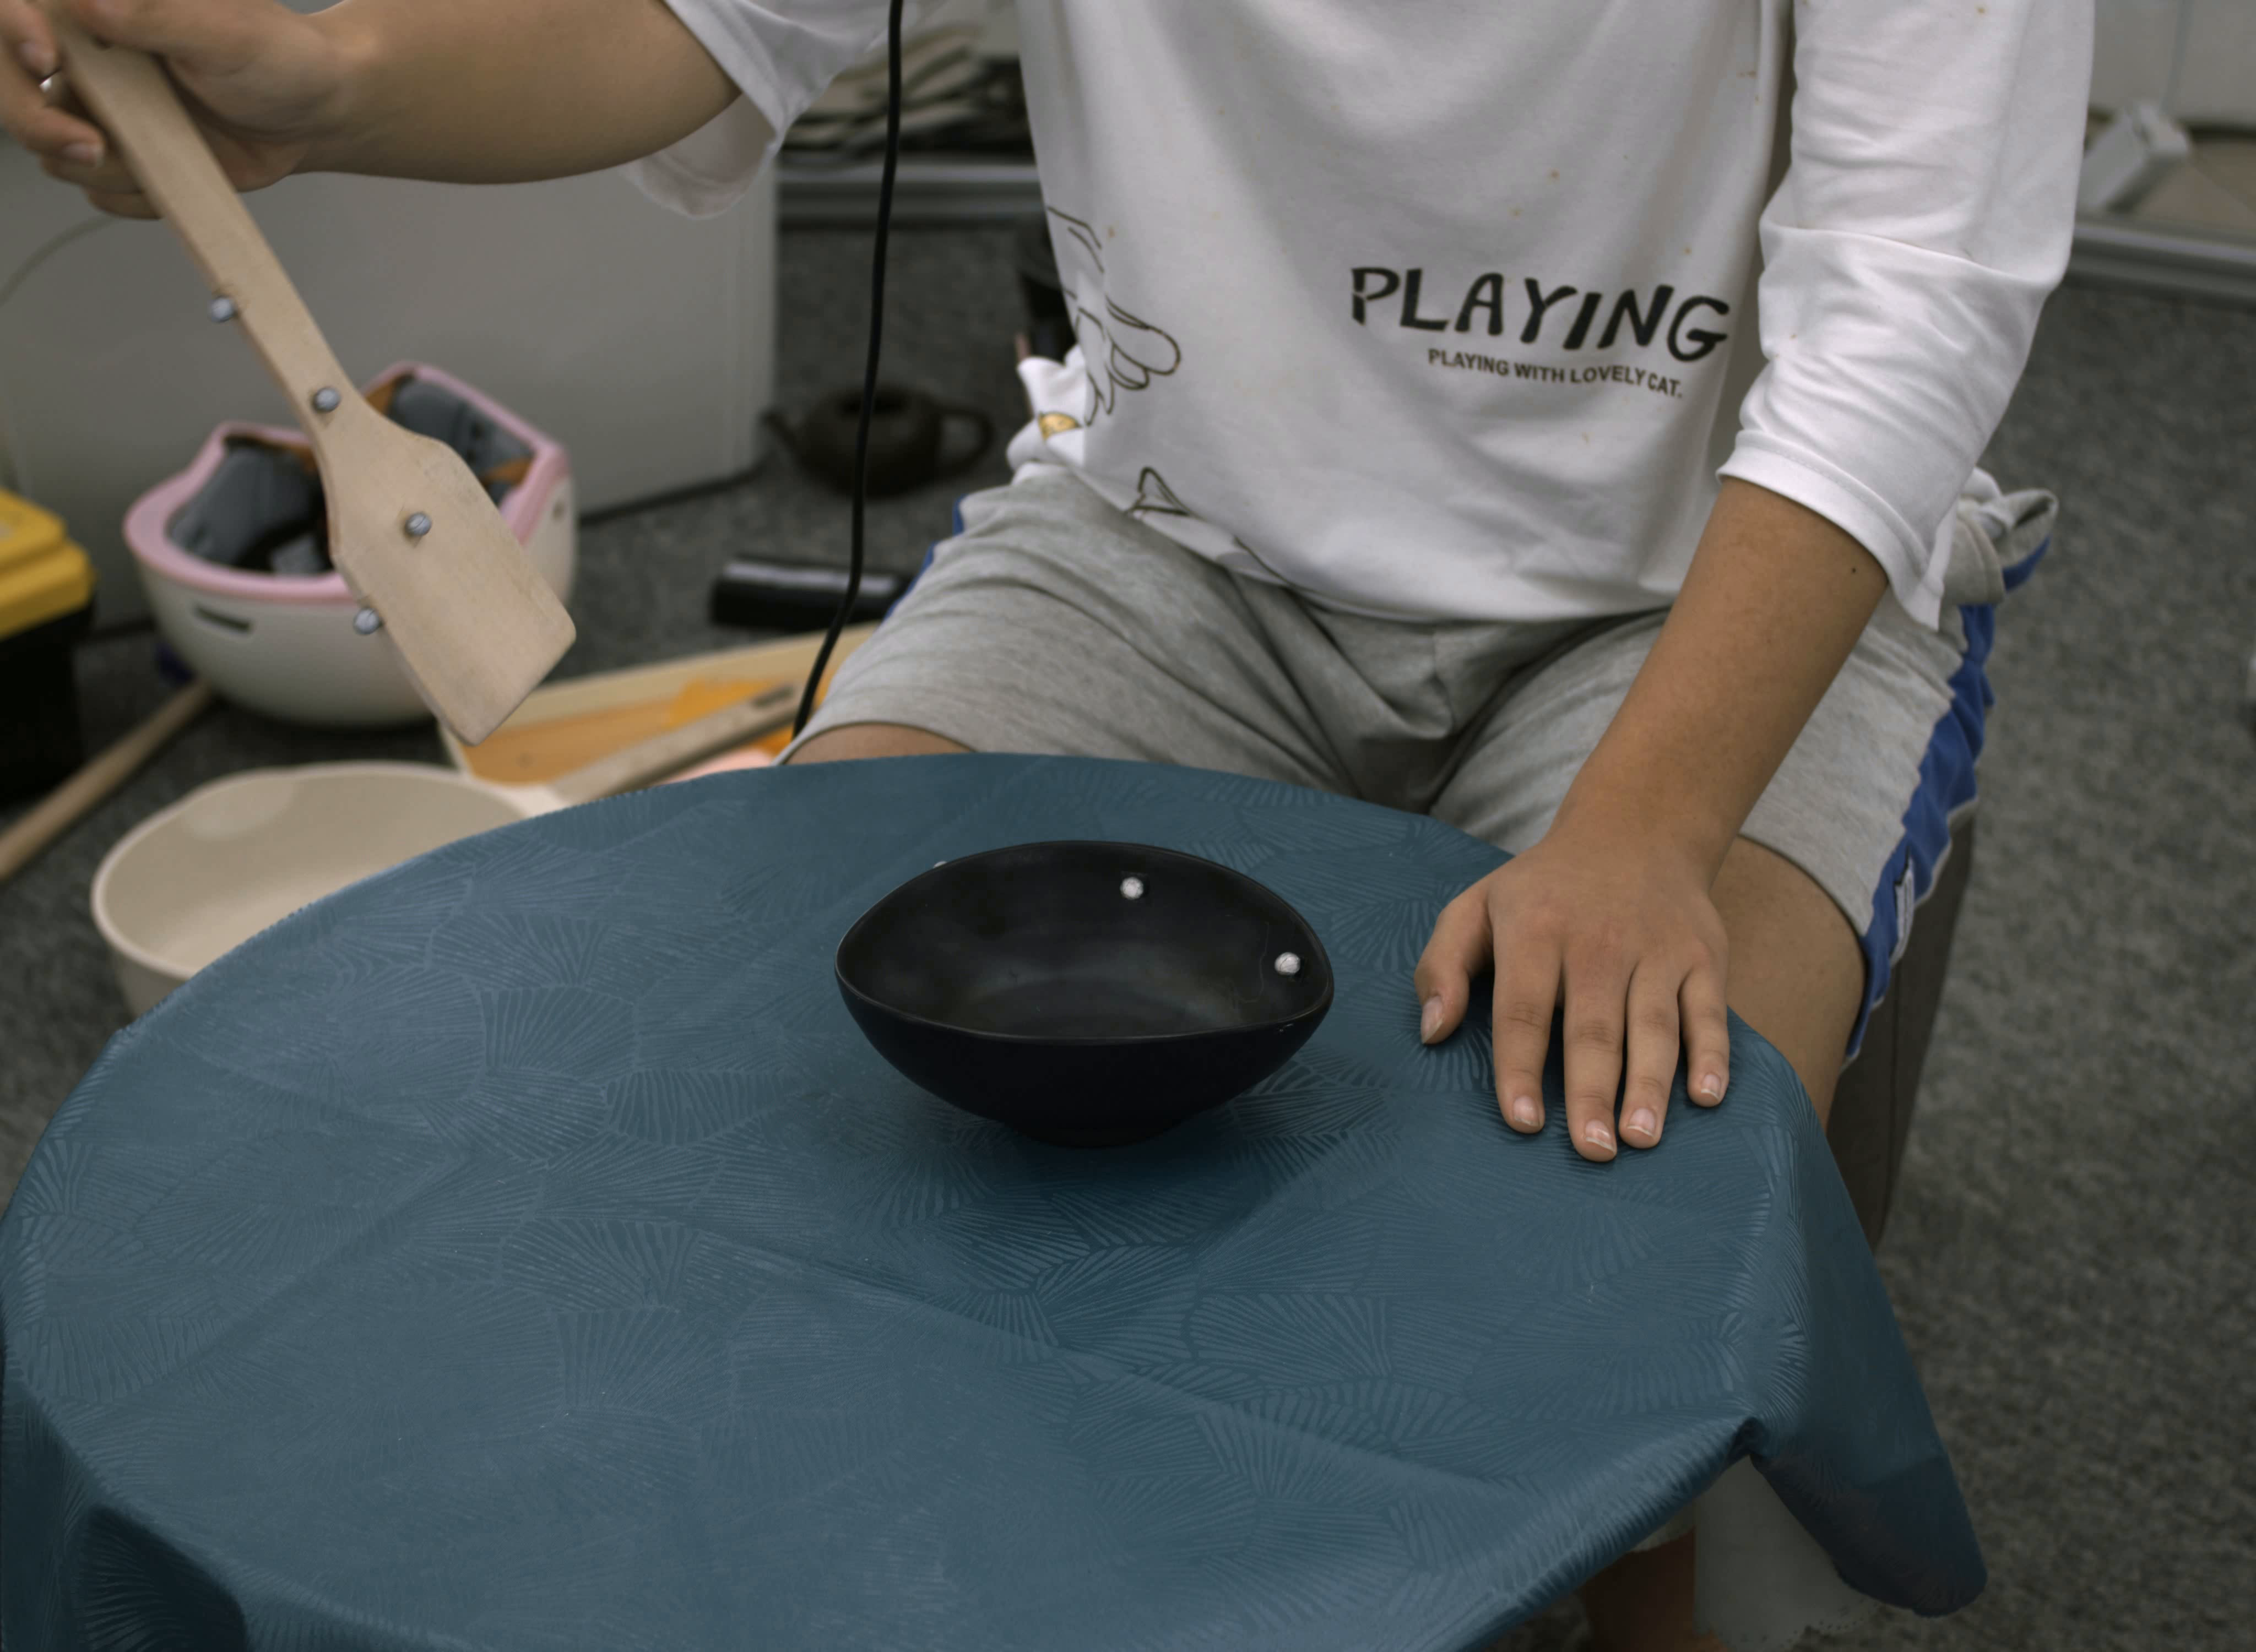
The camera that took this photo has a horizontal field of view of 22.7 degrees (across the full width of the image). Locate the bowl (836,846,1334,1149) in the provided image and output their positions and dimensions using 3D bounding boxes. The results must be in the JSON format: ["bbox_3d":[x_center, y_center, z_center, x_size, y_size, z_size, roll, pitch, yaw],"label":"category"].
[{"bbox_3d":[-0.014,0.065,1.906,0.169,0.066,0.139,3,27,6],"label":"bowl"}]

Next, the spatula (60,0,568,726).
[{"bbox_3d":[-0.275,-0.165,1.872,0.010,0.291,0.073,-9,31,38],"label":"spatula"}]
